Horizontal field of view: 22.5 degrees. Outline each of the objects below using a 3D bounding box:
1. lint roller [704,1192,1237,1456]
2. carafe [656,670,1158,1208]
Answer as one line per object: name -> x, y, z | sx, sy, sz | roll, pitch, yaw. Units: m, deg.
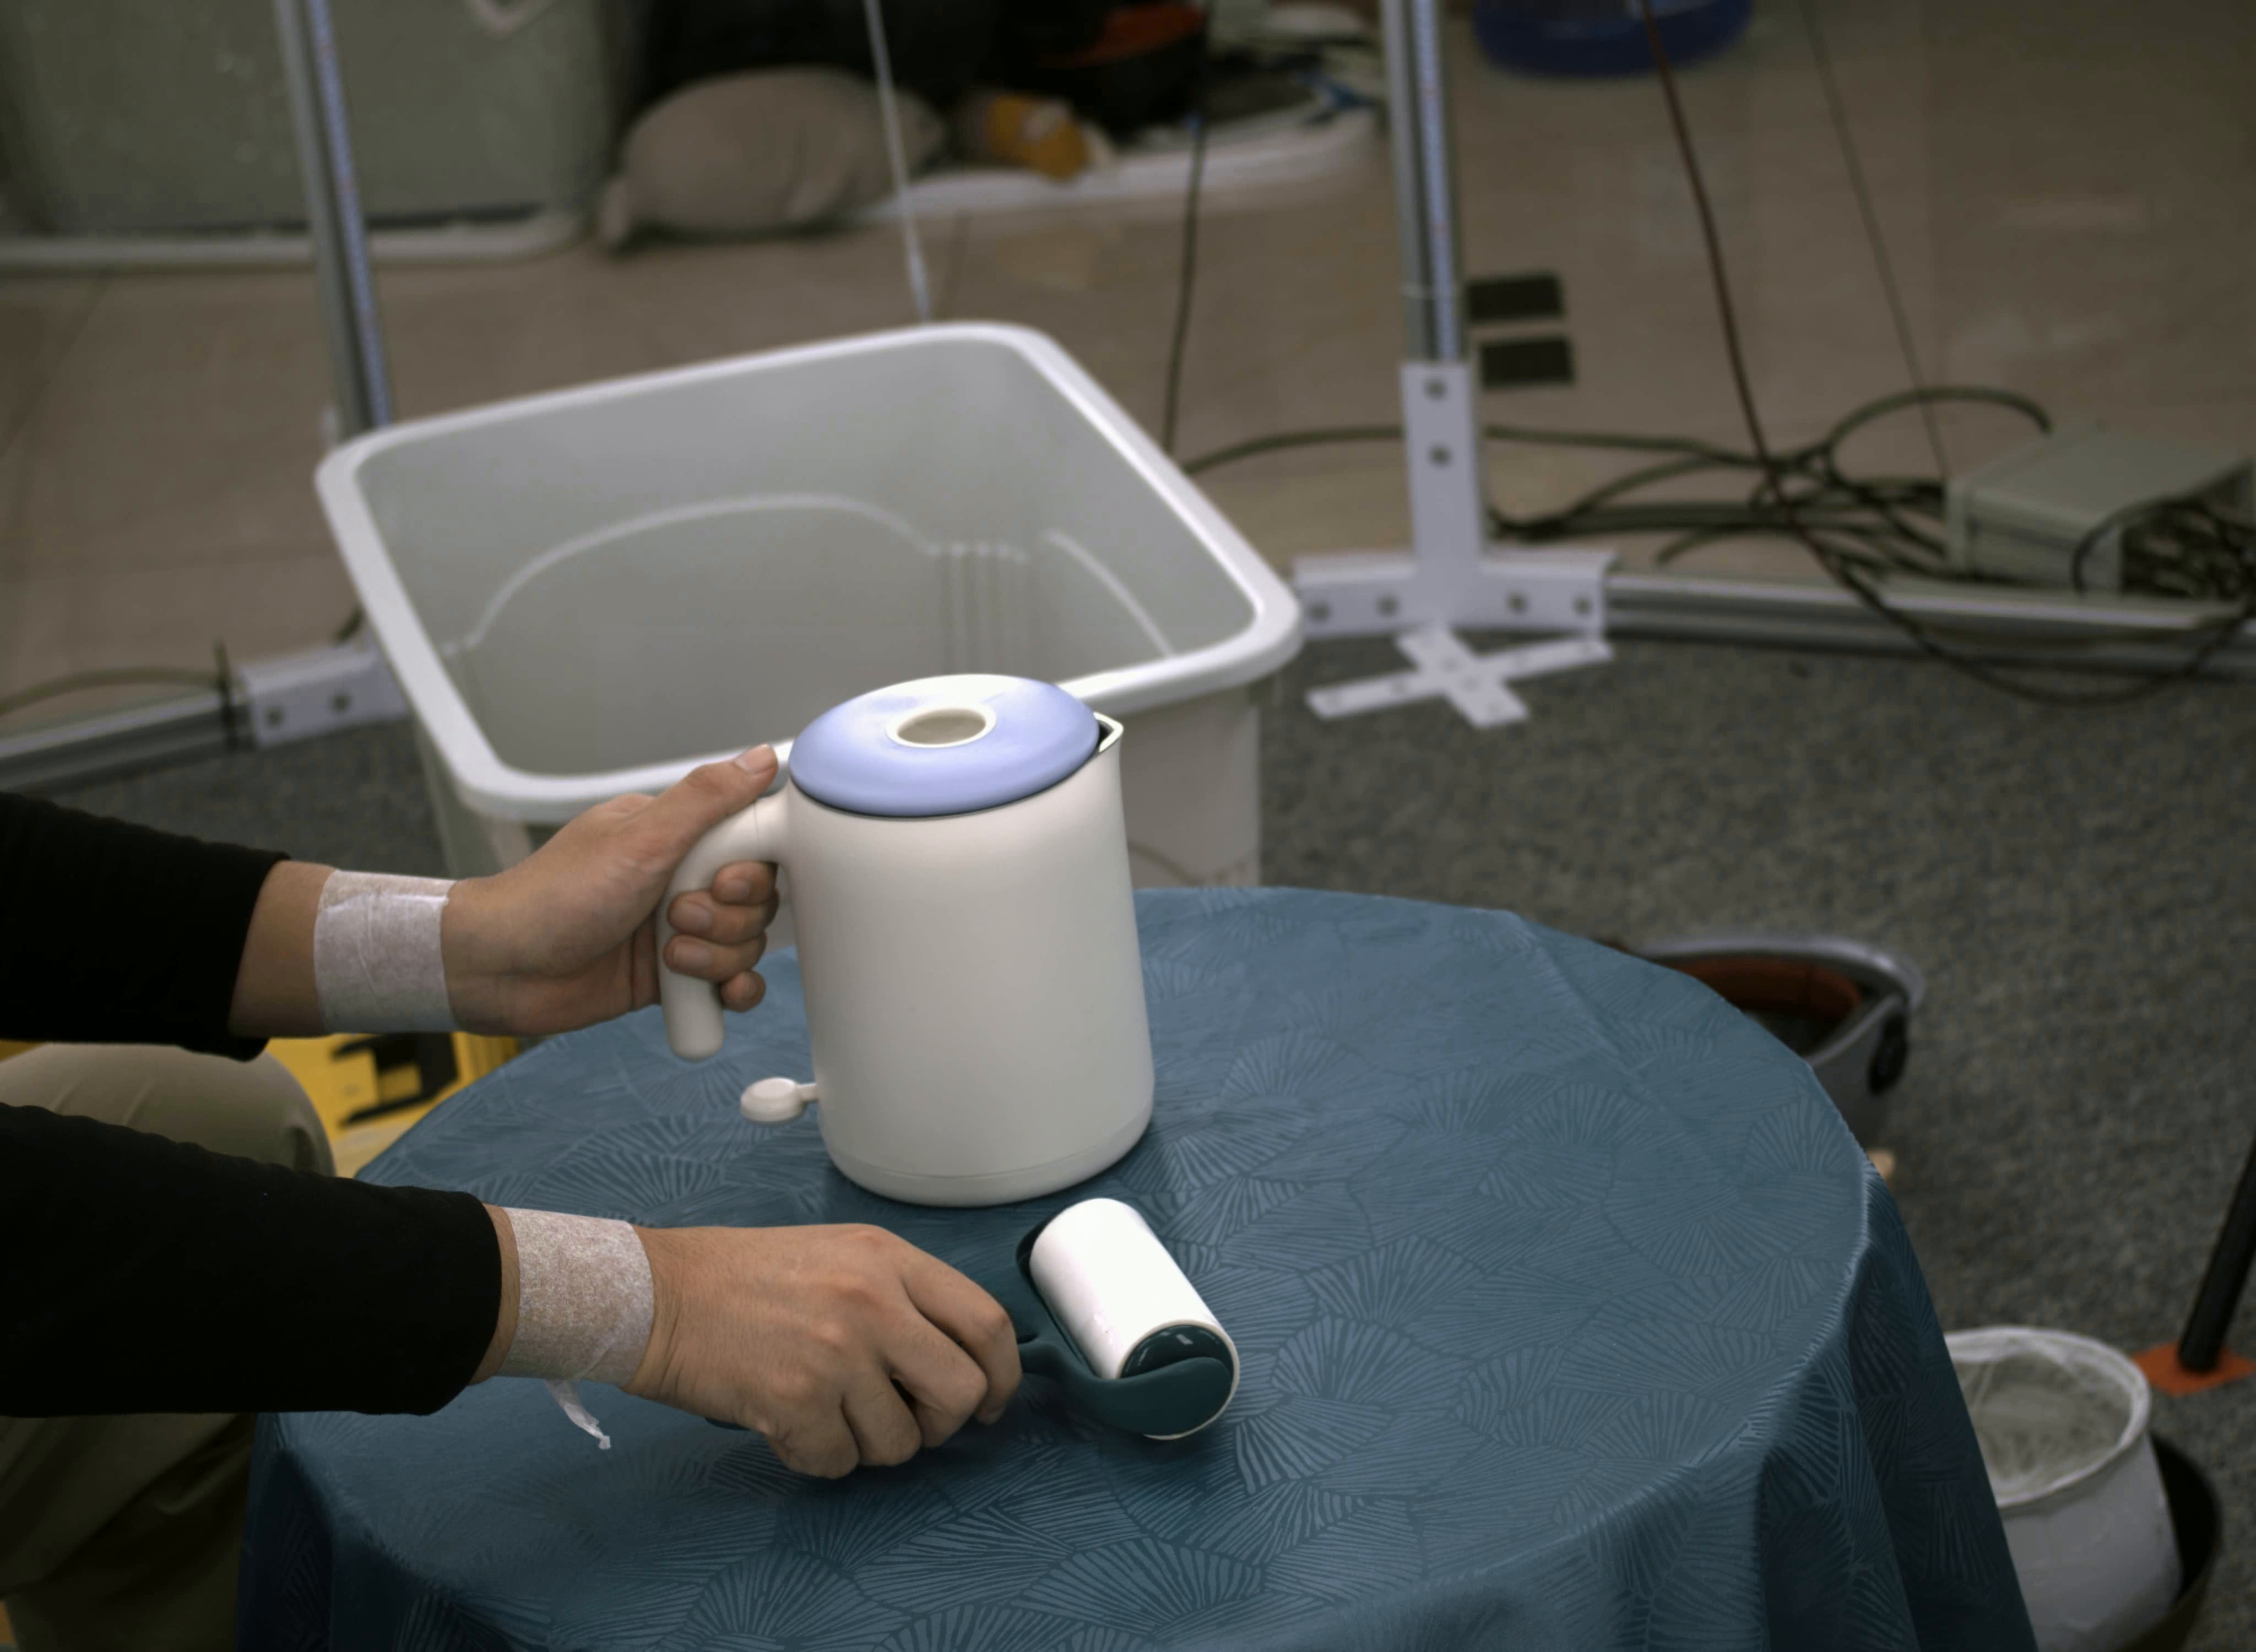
lint roller -> -0.063, 0.183, 1.995 | 0.179, 0.049, 0.132 | -8, 24, -16
carafe -> -0.085, 0.046, 2.161 | 0.191, 0.185, 0.130 | -10, 25, -3
